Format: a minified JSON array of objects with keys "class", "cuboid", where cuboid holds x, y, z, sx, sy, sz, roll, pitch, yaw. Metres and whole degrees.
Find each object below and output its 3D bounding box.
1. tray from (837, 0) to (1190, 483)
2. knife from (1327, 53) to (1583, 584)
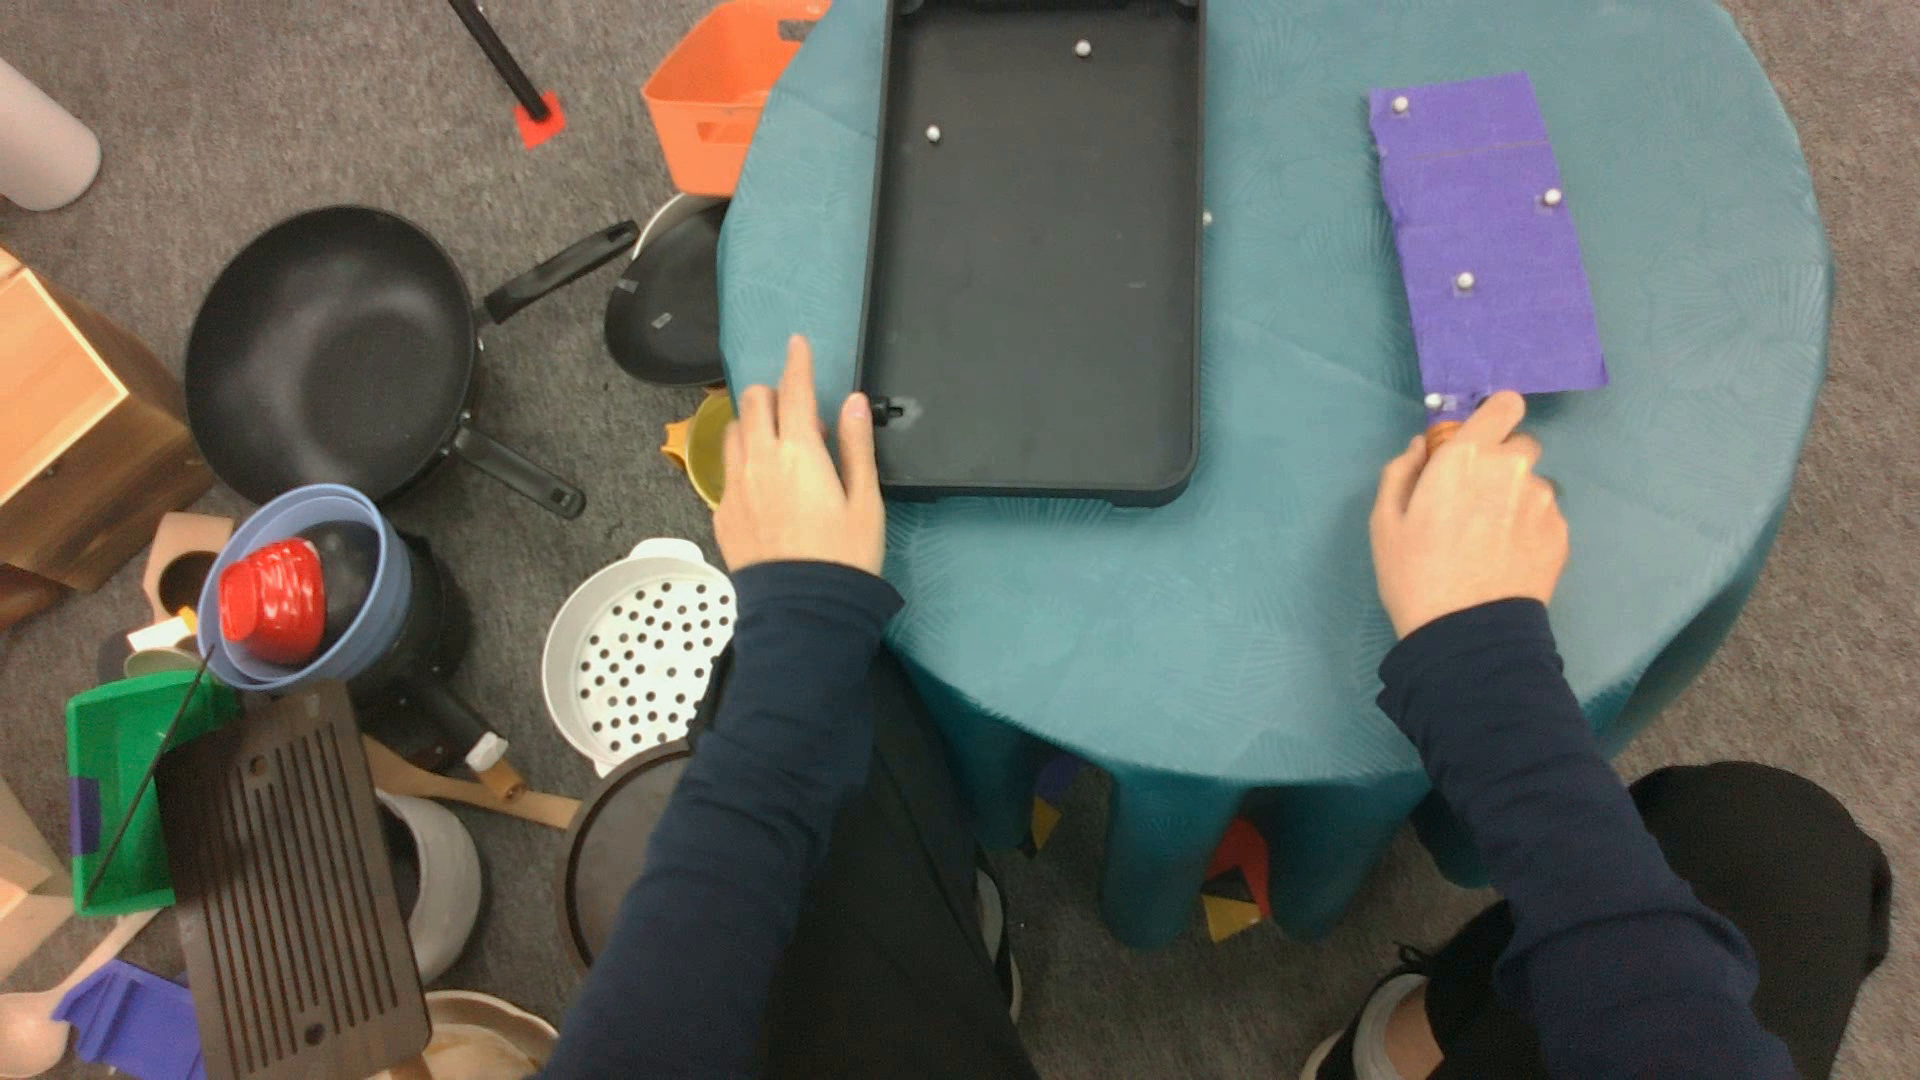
[{"class":"tray","cuboid":[0.032,-0.185,0.767,0.184,0.037,0.319,0,74,6]},{"class":"knife","cuboid":[0.267,-0.130,0.713,0.104,0.032,0.316,-5,67,5]}]
